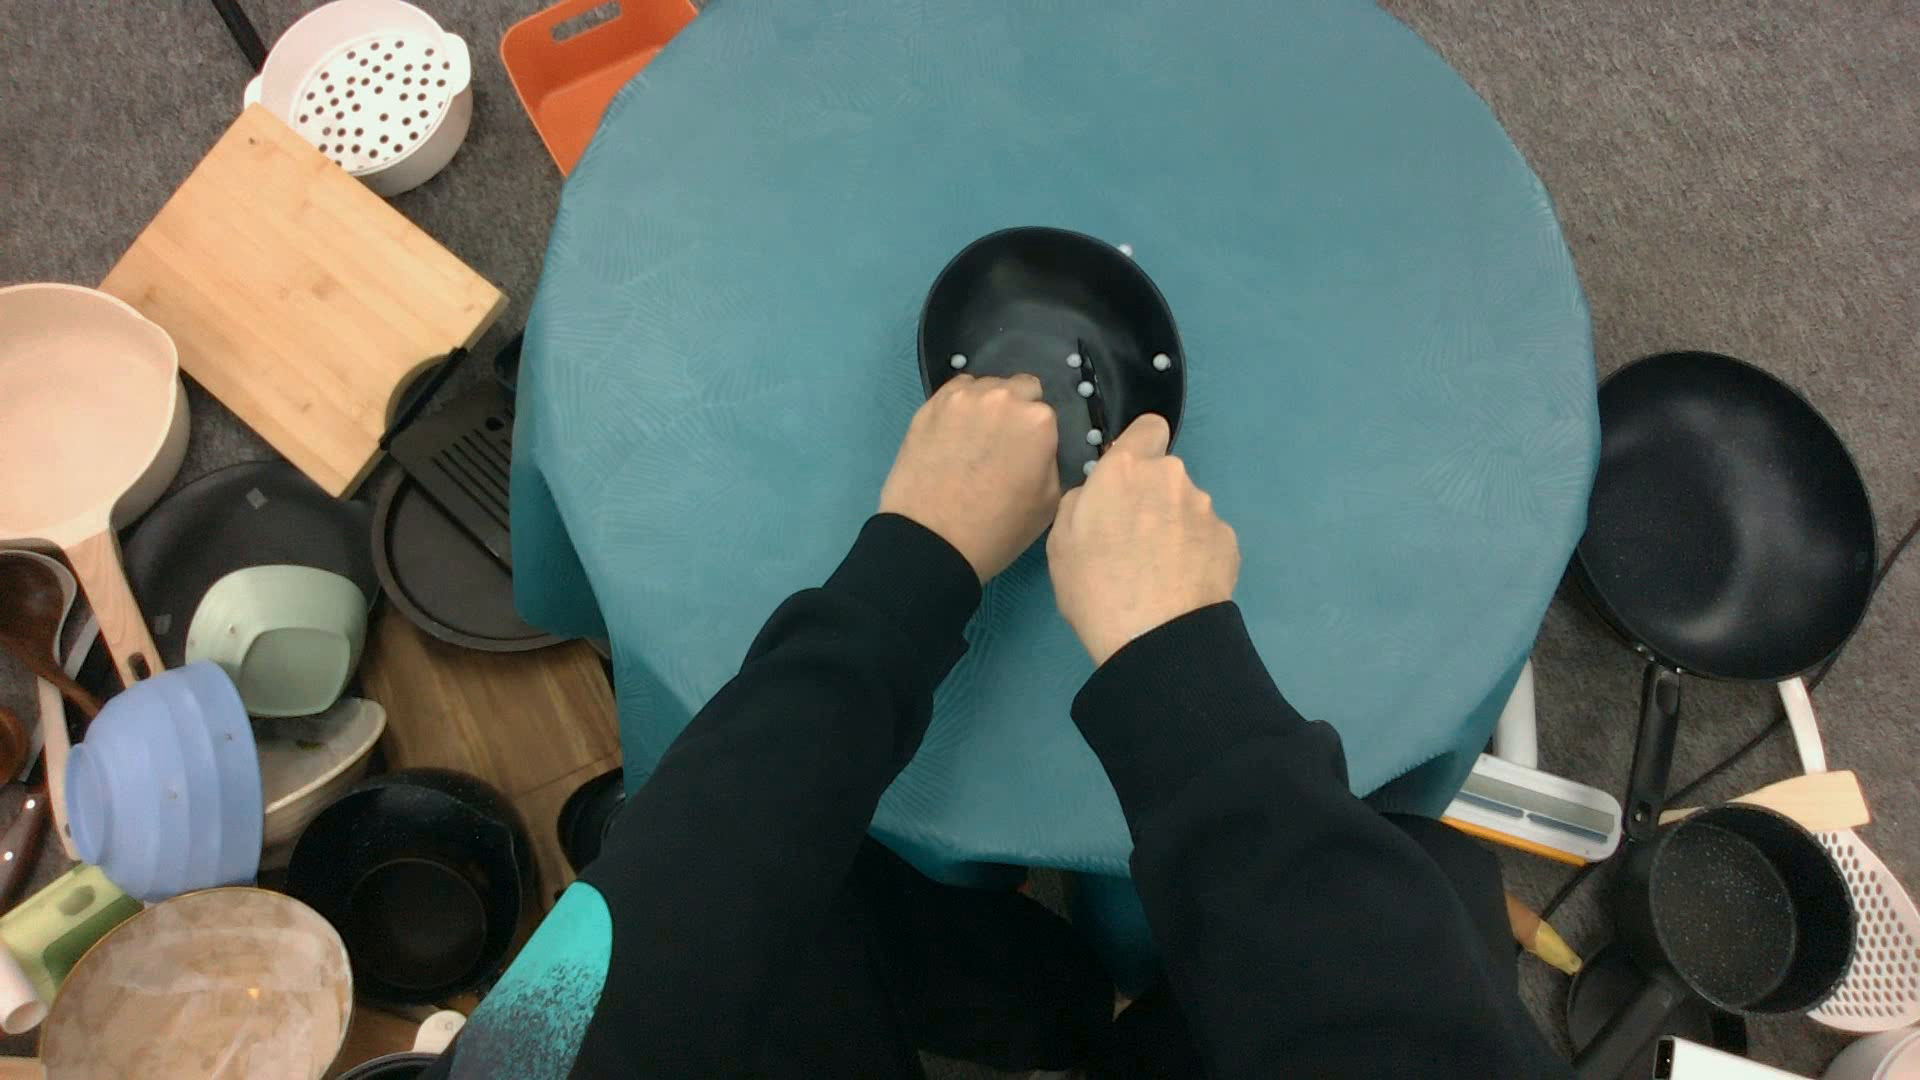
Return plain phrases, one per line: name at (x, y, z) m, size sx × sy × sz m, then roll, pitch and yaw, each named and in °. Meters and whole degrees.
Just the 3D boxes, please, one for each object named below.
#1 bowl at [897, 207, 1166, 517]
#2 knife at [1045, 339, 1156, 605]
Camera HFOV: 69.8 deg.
bowl at (0.036, -0.089, 0.729) m, size 0.137 × 0.066 × 0.170 m, roll -13°, pitch 74°, yaw -8°
knife at (0.064, -0.045, 0.674) m, size 0.017 × 0.026 × 0.226 m, roll 6°, pitch 37°, yaw -13°
